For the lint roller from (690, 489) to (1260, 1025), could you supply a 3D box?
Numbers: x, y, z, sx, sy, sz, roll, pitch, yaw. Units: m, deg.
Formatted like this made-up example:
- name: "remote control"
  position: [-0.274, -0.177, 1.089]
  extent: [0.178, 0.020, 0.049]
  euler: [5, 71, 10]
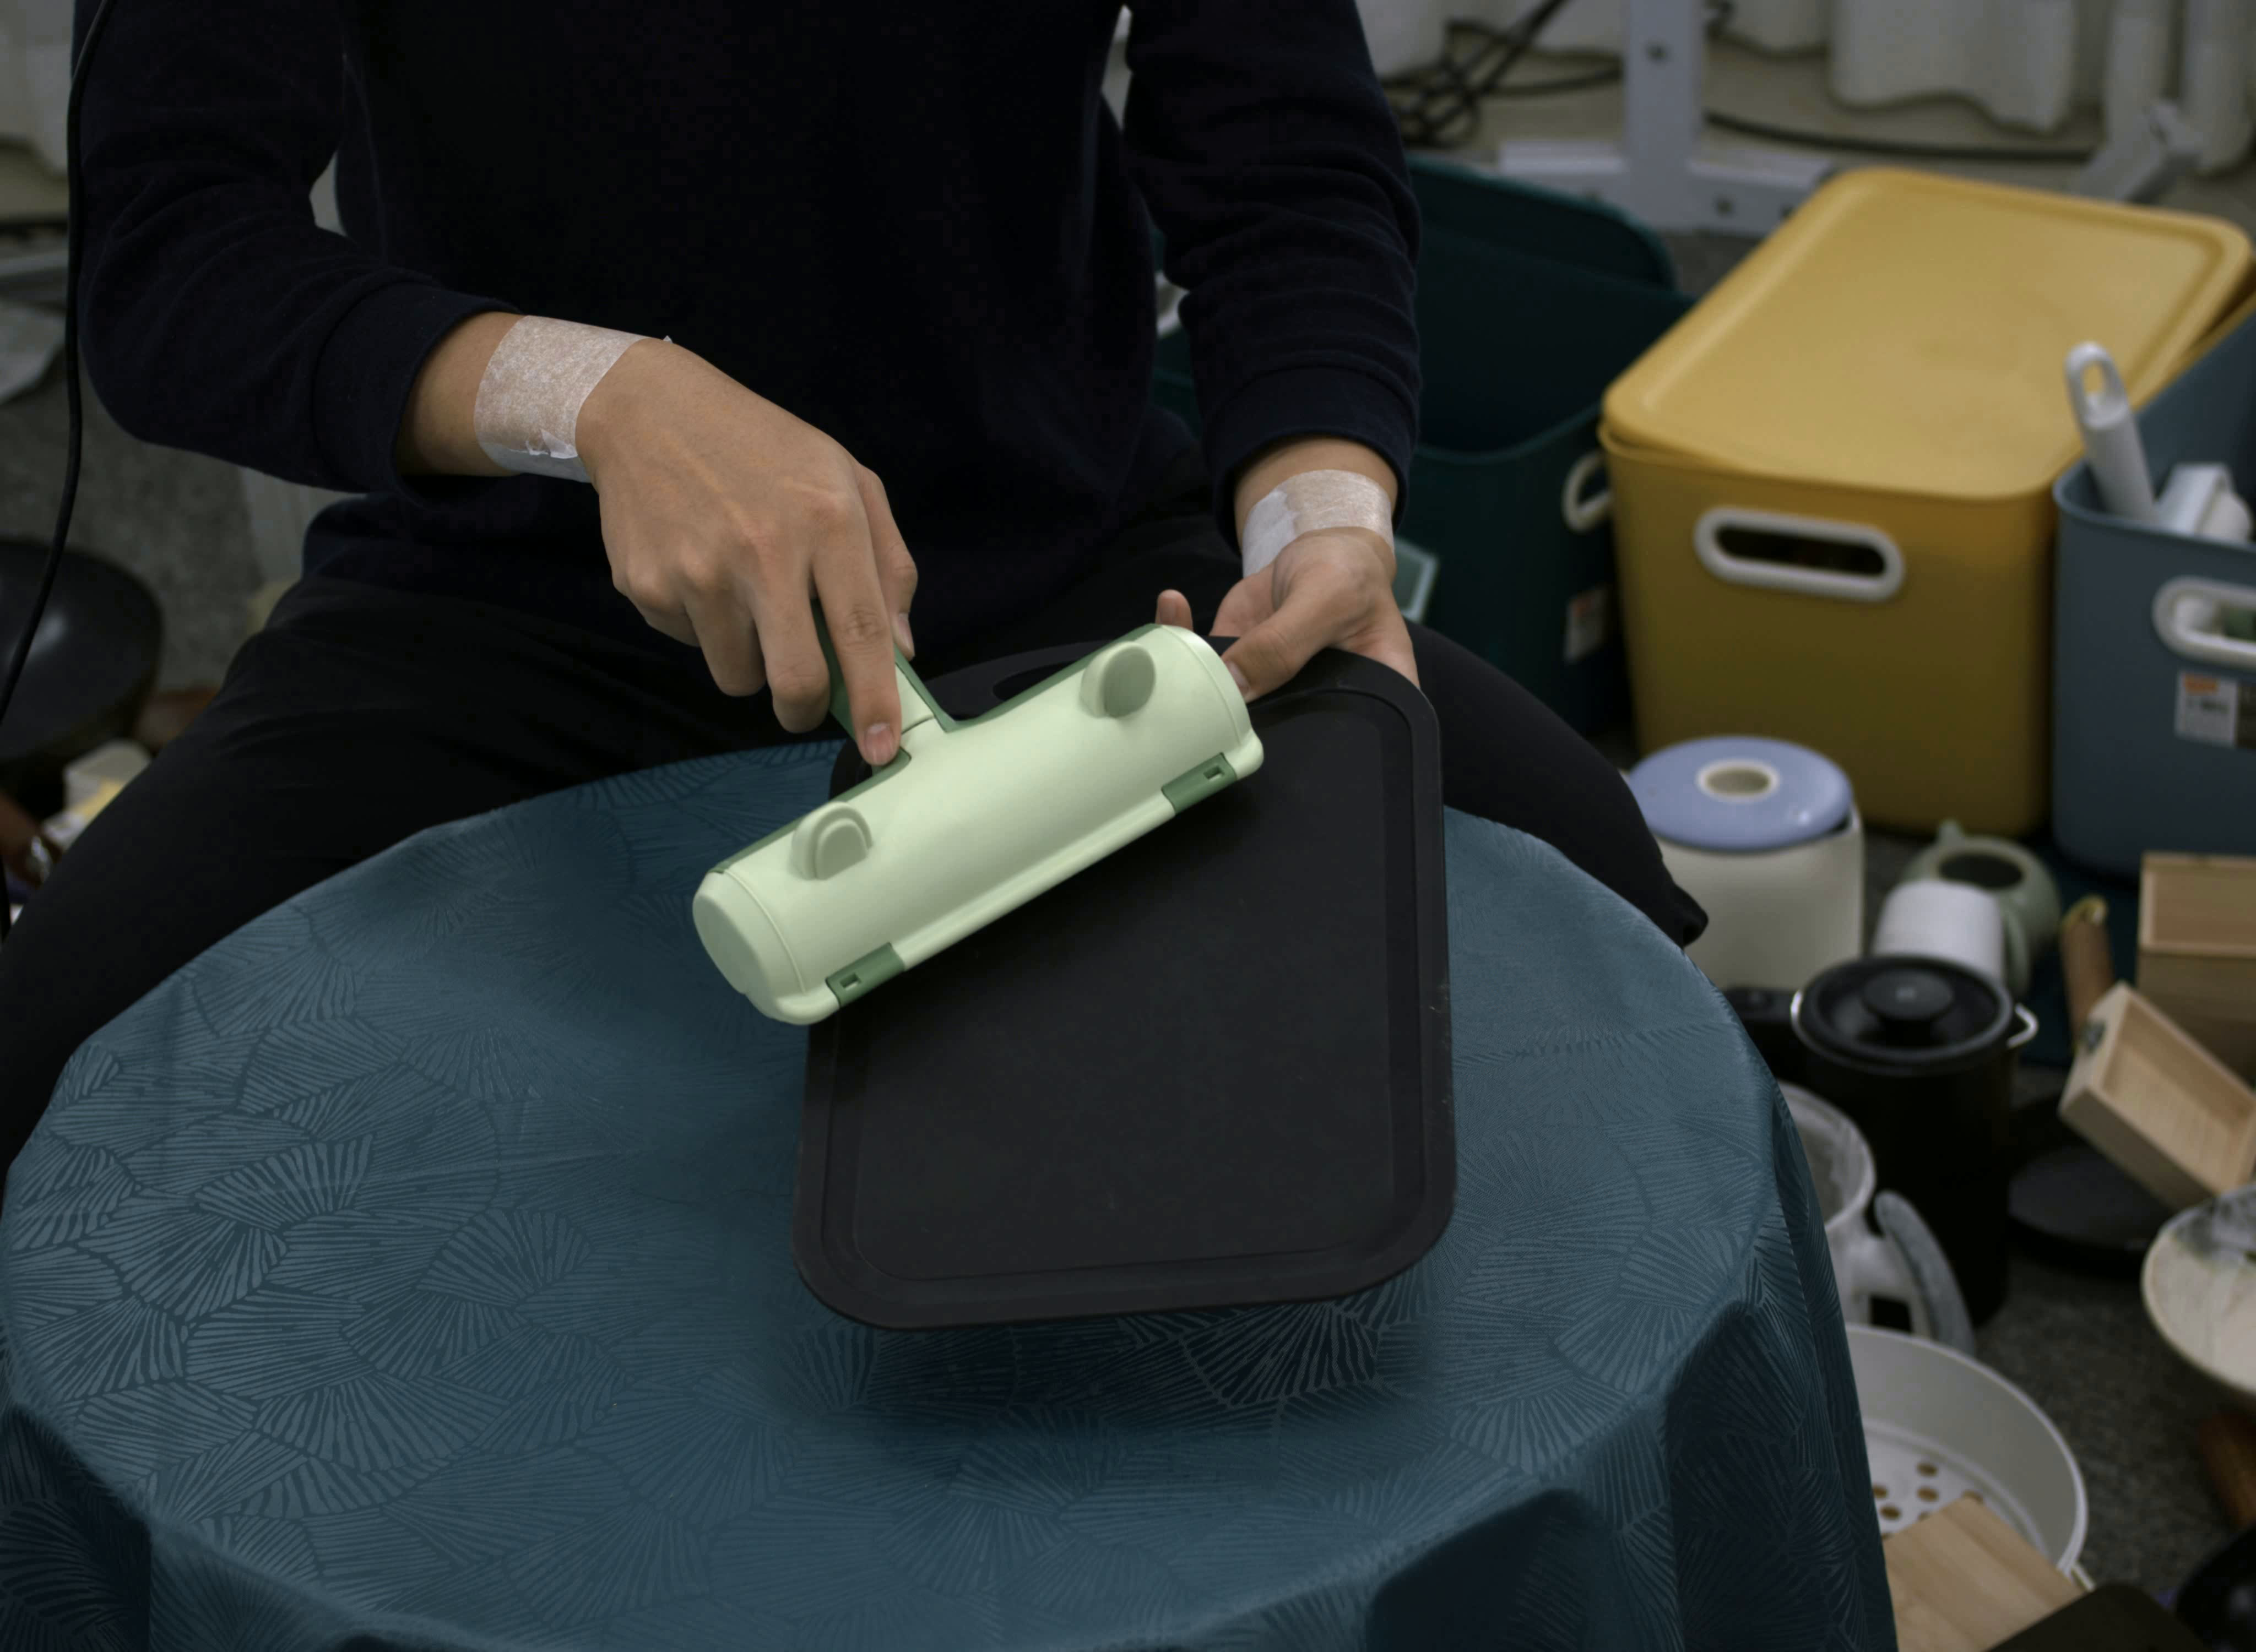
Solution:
- name: "lint roller"
  position: [-0.081, -0.051, 1.862]
  extent: [0.200, 0.081, 0.184]
  euler: [-30, 76, -24]

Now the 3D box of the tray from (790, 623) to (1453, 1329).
- name: "tray"
  position: [0.000, 0.039, 1.836]
  extent: [0.210, 0.009, 0.332]
  euler: [-4, 41, 5]
